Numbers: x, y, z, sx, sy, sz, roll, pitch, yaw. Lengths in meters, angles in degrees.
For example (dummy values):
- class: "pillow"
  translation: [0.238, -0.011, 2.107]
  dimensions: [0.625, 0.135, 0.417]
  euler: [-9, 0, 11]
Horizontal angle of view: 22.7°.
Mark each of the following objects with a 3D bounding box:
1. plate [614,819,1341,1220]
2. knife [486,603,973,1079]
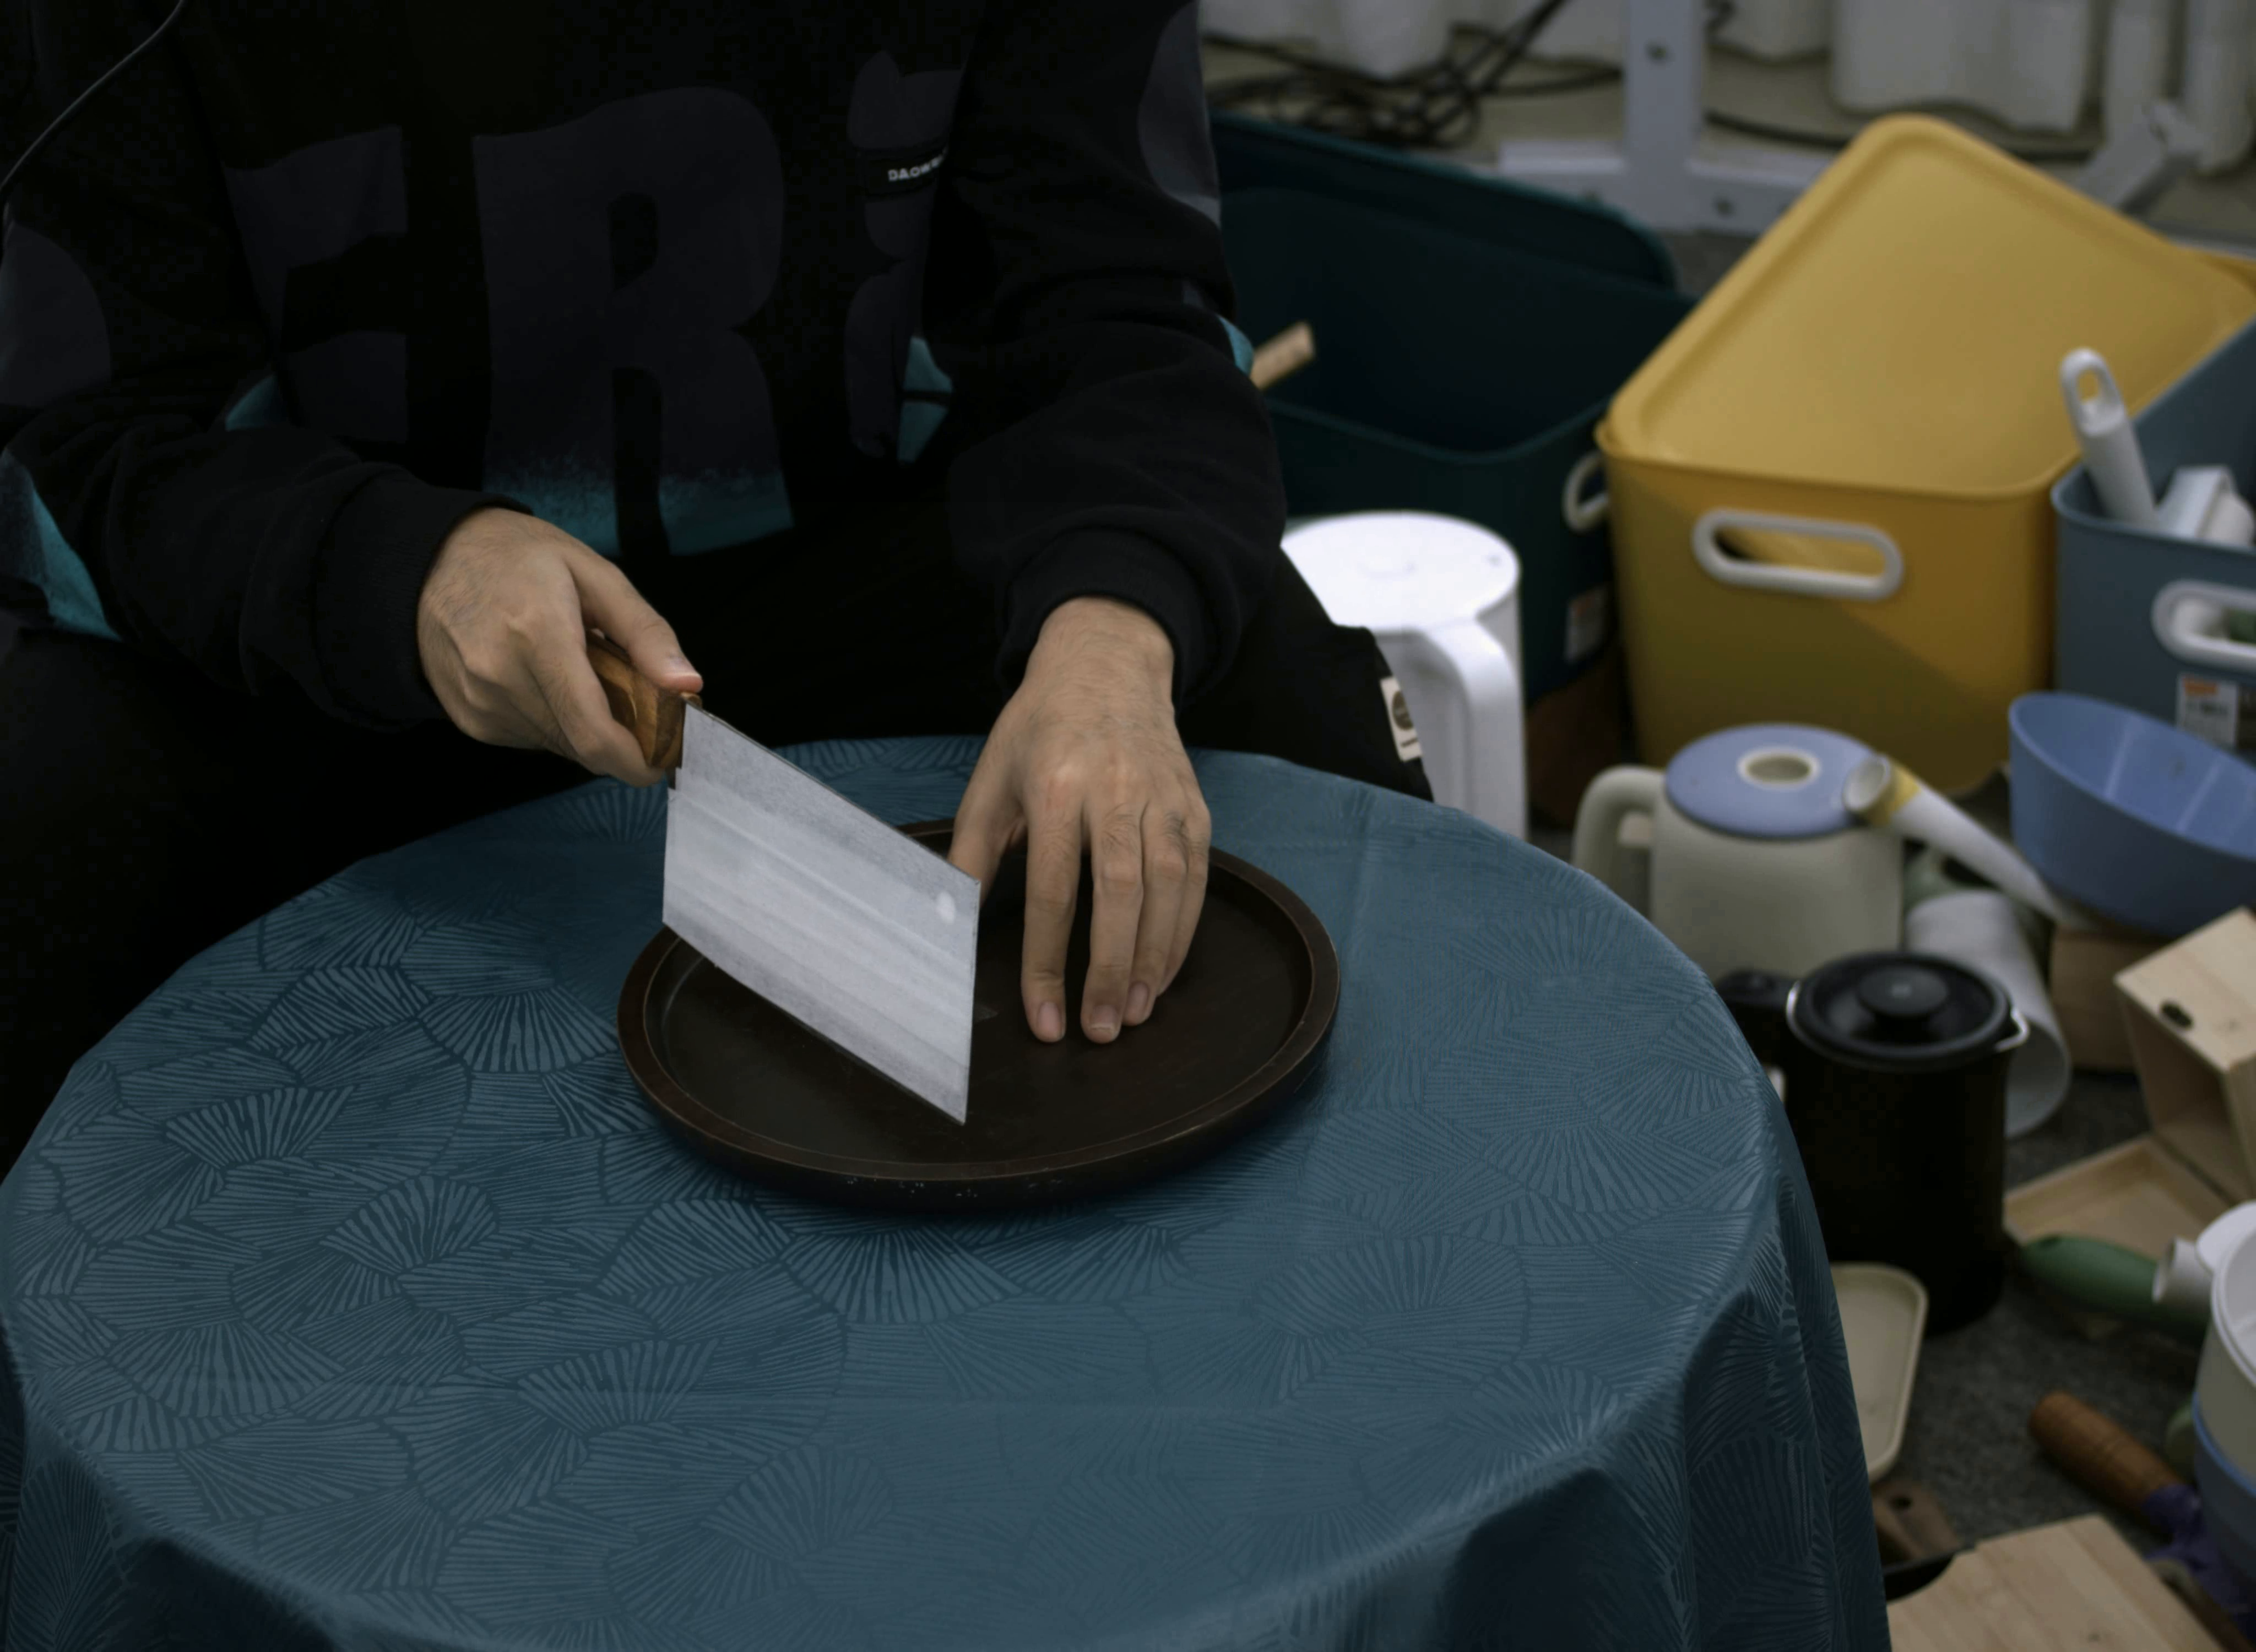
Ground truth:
- class: "plate"
  translation: [-0.052, 0.065, 1.949]
  dimensions: [0.253, 0.029, 0.259]
  euler: [-3, 29, 2]
- class: "knife"
  translation: [-0.141, 0.006, 1.947]
  dimensions: [0.021, 0.092, 0.306]
  euler: [-11, 26, -35]
